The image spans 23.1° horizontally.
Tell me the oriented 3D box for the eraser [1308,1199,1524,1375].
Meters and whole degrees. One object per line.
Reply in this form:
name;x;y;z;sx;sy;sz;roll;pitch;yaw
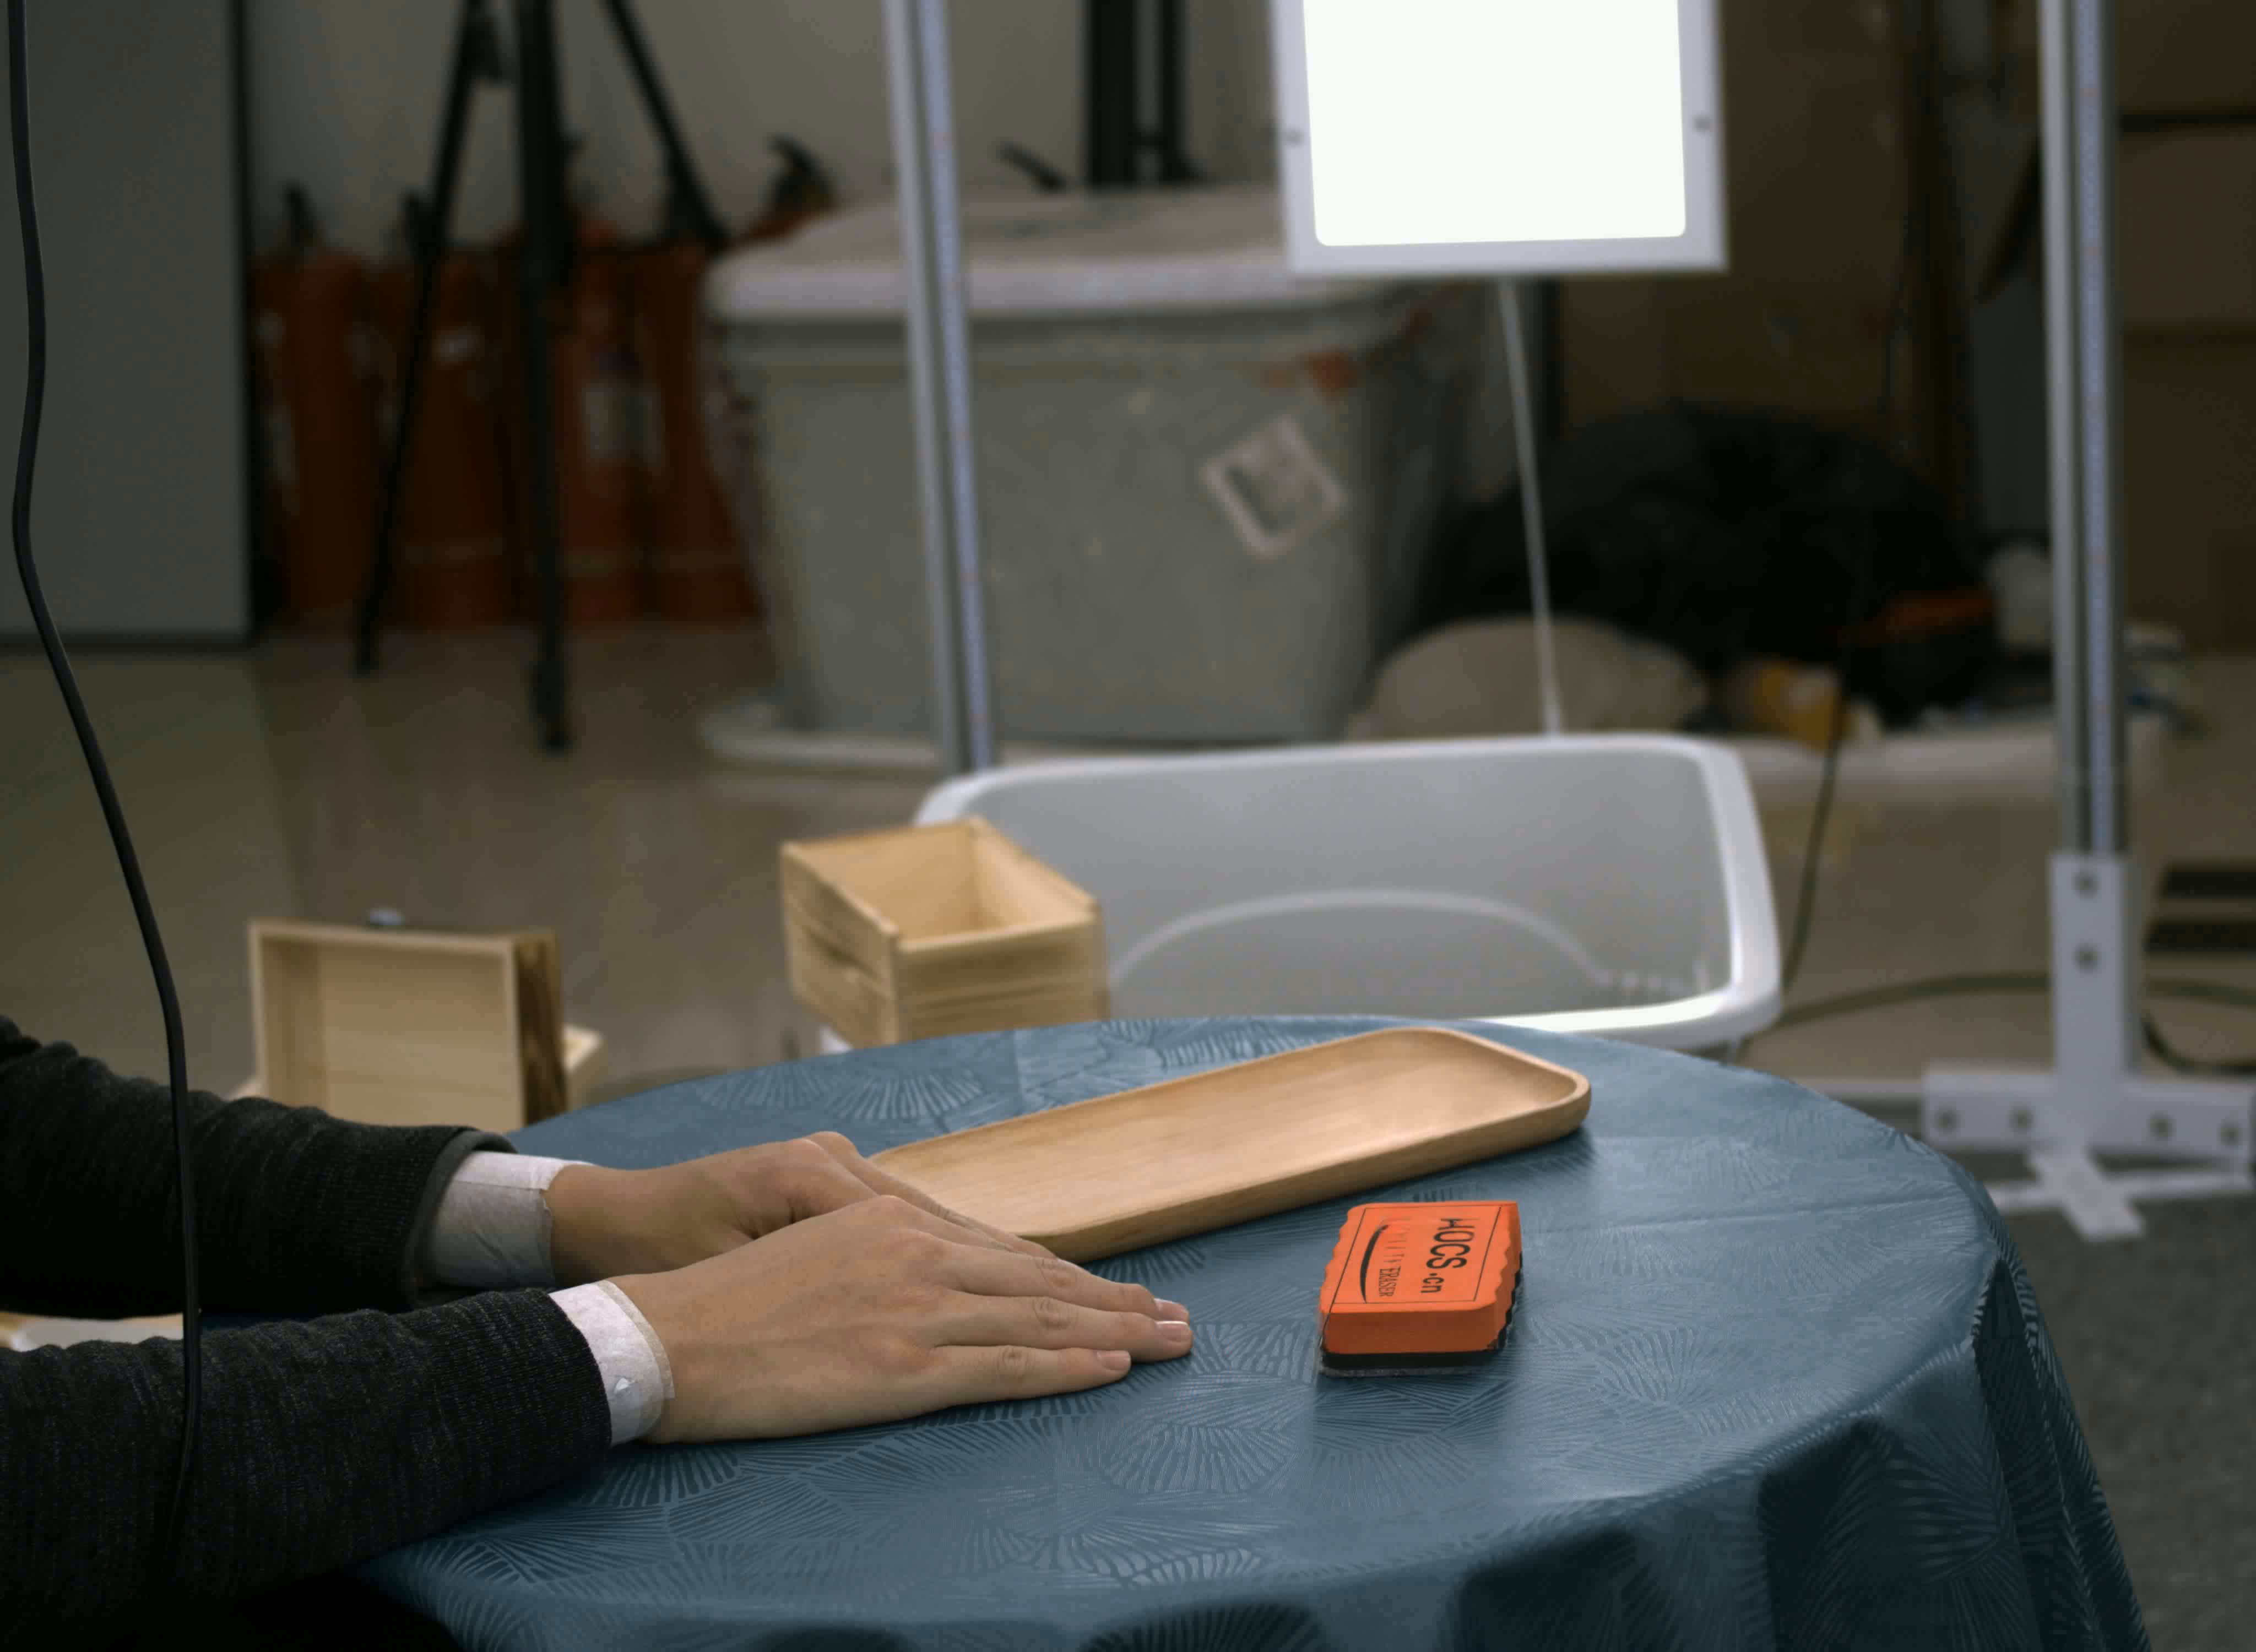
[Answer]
eraser;0.092;0.145;1.738;0.059;0.023;0.107;-3;14;12

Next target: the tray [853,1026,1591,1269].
tray;0.034;0.111;1.915;0.245;0.023;0.133;-13;13;-26
